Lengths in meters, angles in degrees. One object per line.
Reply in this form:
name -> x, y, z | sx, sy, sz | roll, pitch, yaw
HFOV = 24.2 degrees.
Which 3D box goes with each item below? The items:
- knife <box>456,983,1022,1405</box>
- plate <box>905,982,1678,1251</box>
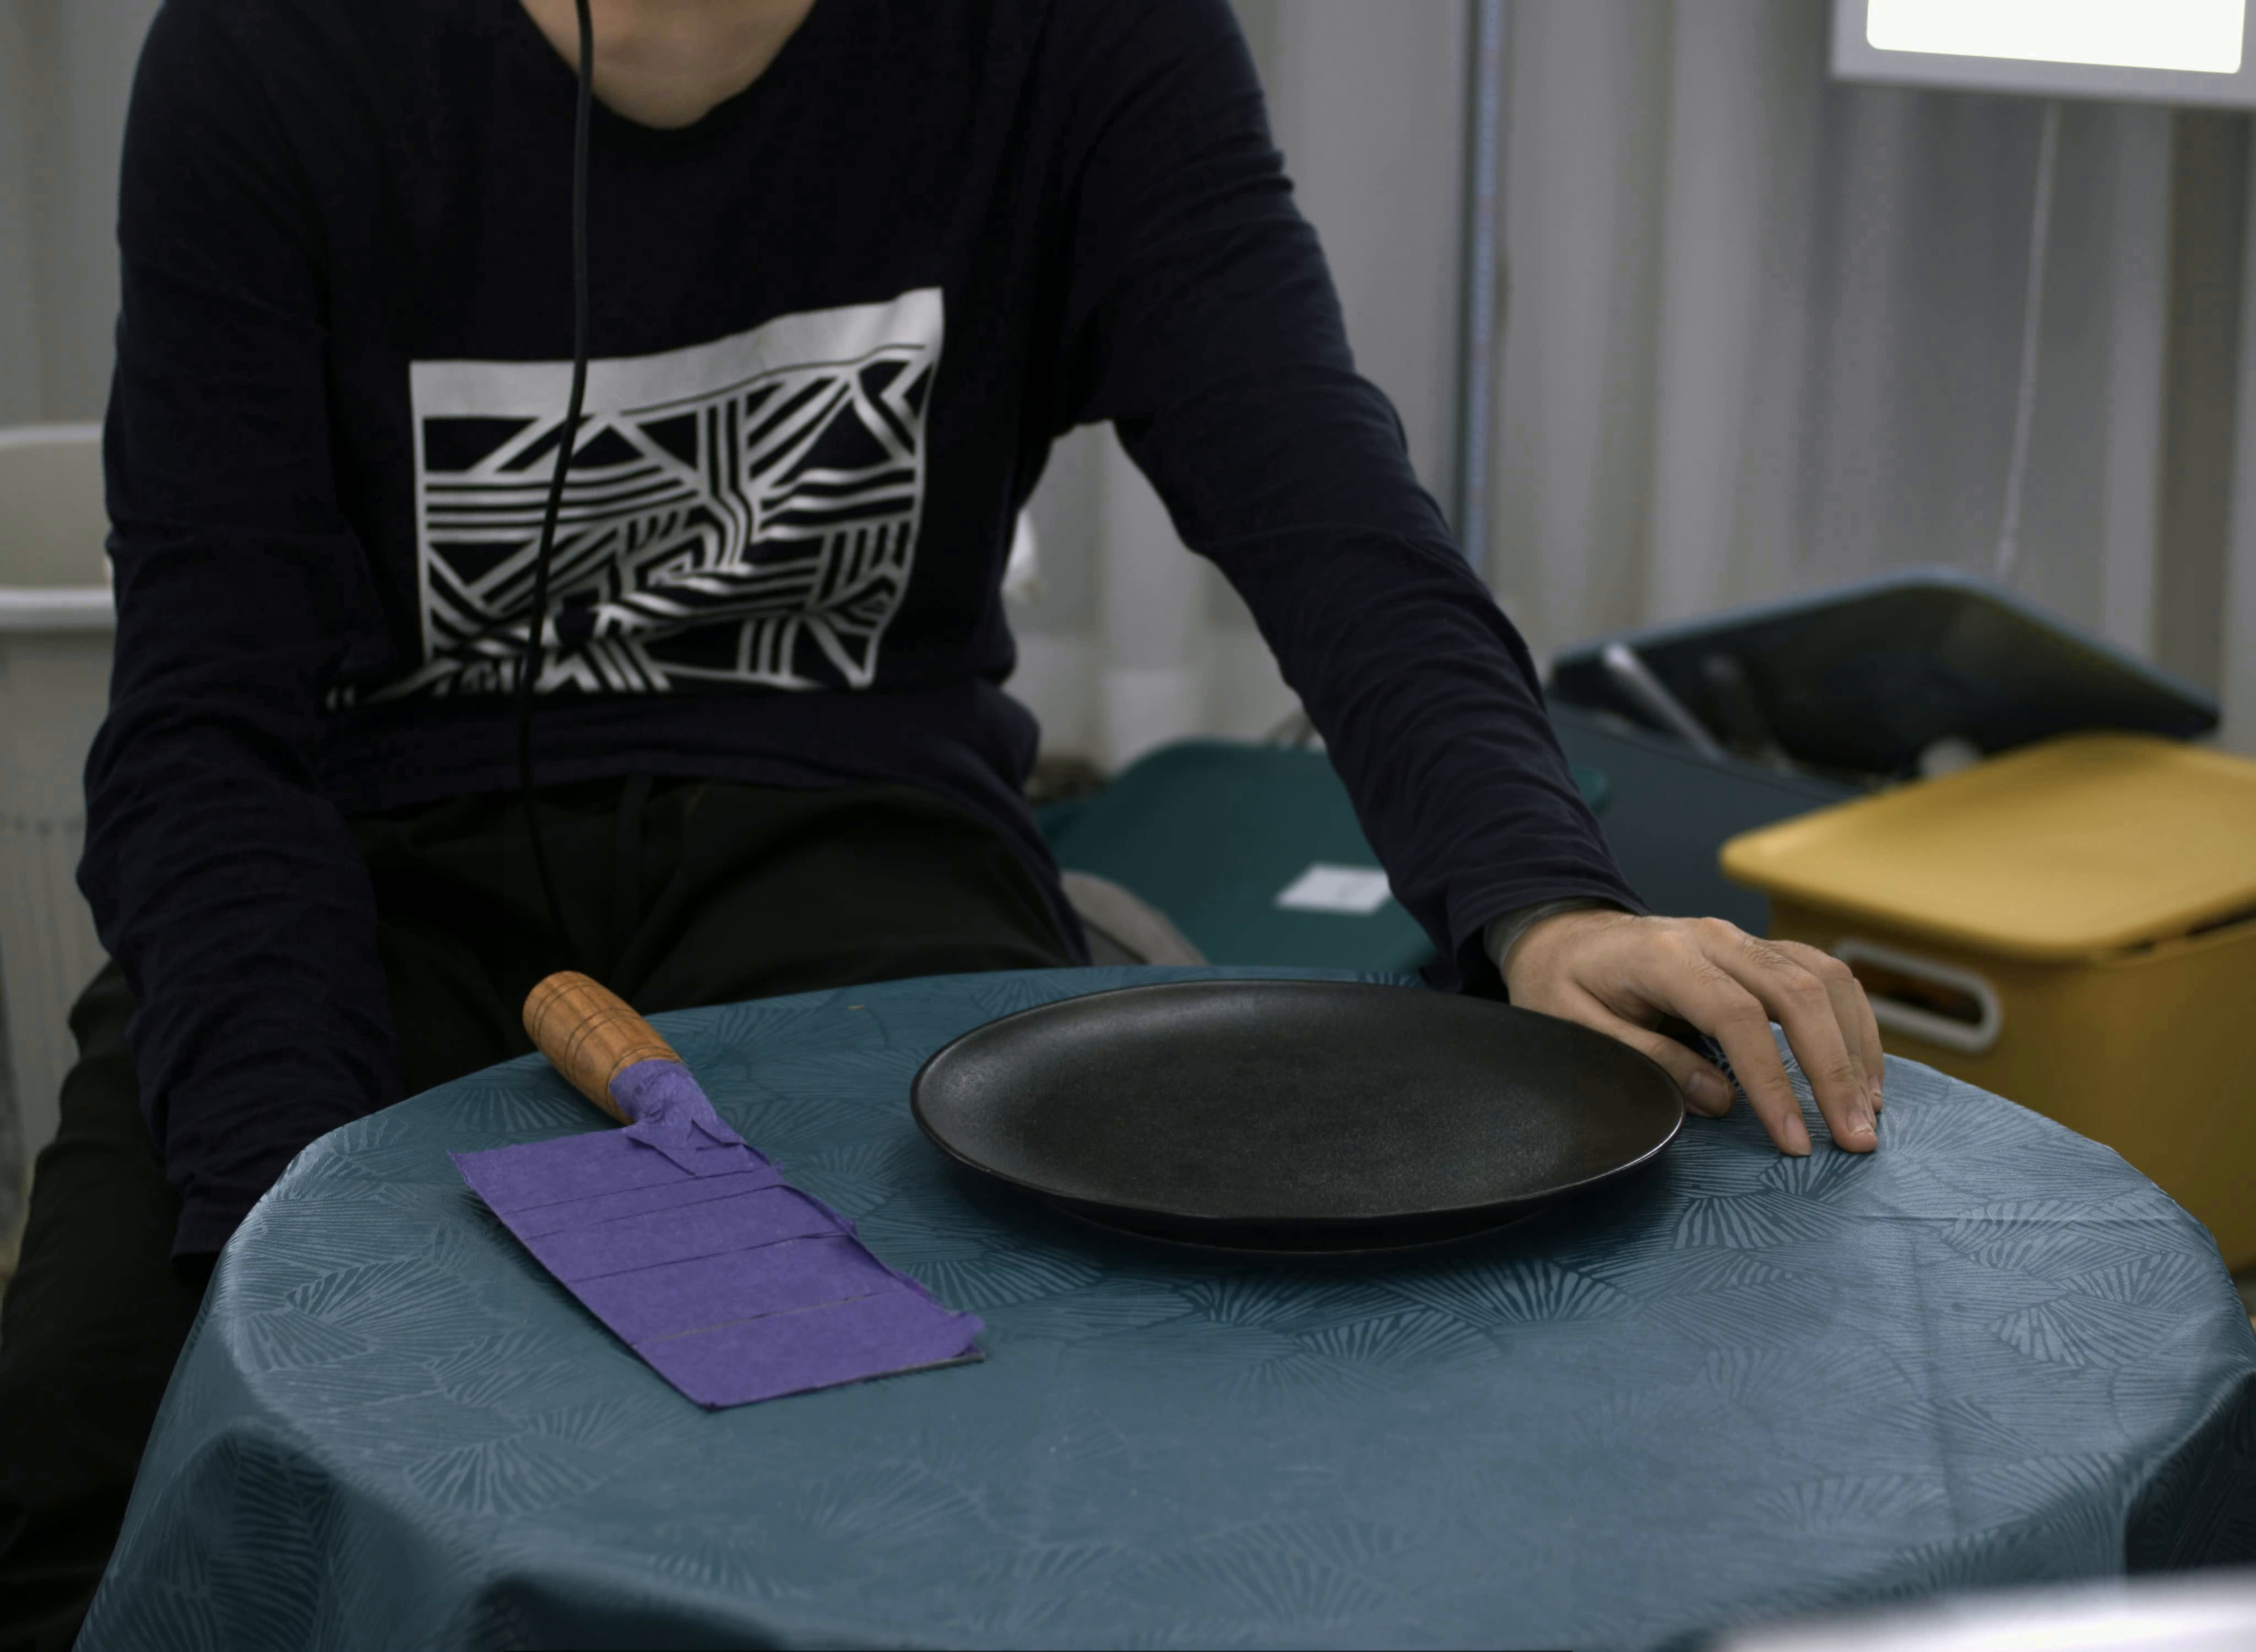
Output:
knife -> -0.145, 0.107, 1.590 | 0.104, 0.032, 0.311 | -7, 18, -27
plate -> 0.051, 0.093, 1.655 | 0.243, 0.023, 0.243 | 1, 15, 0
